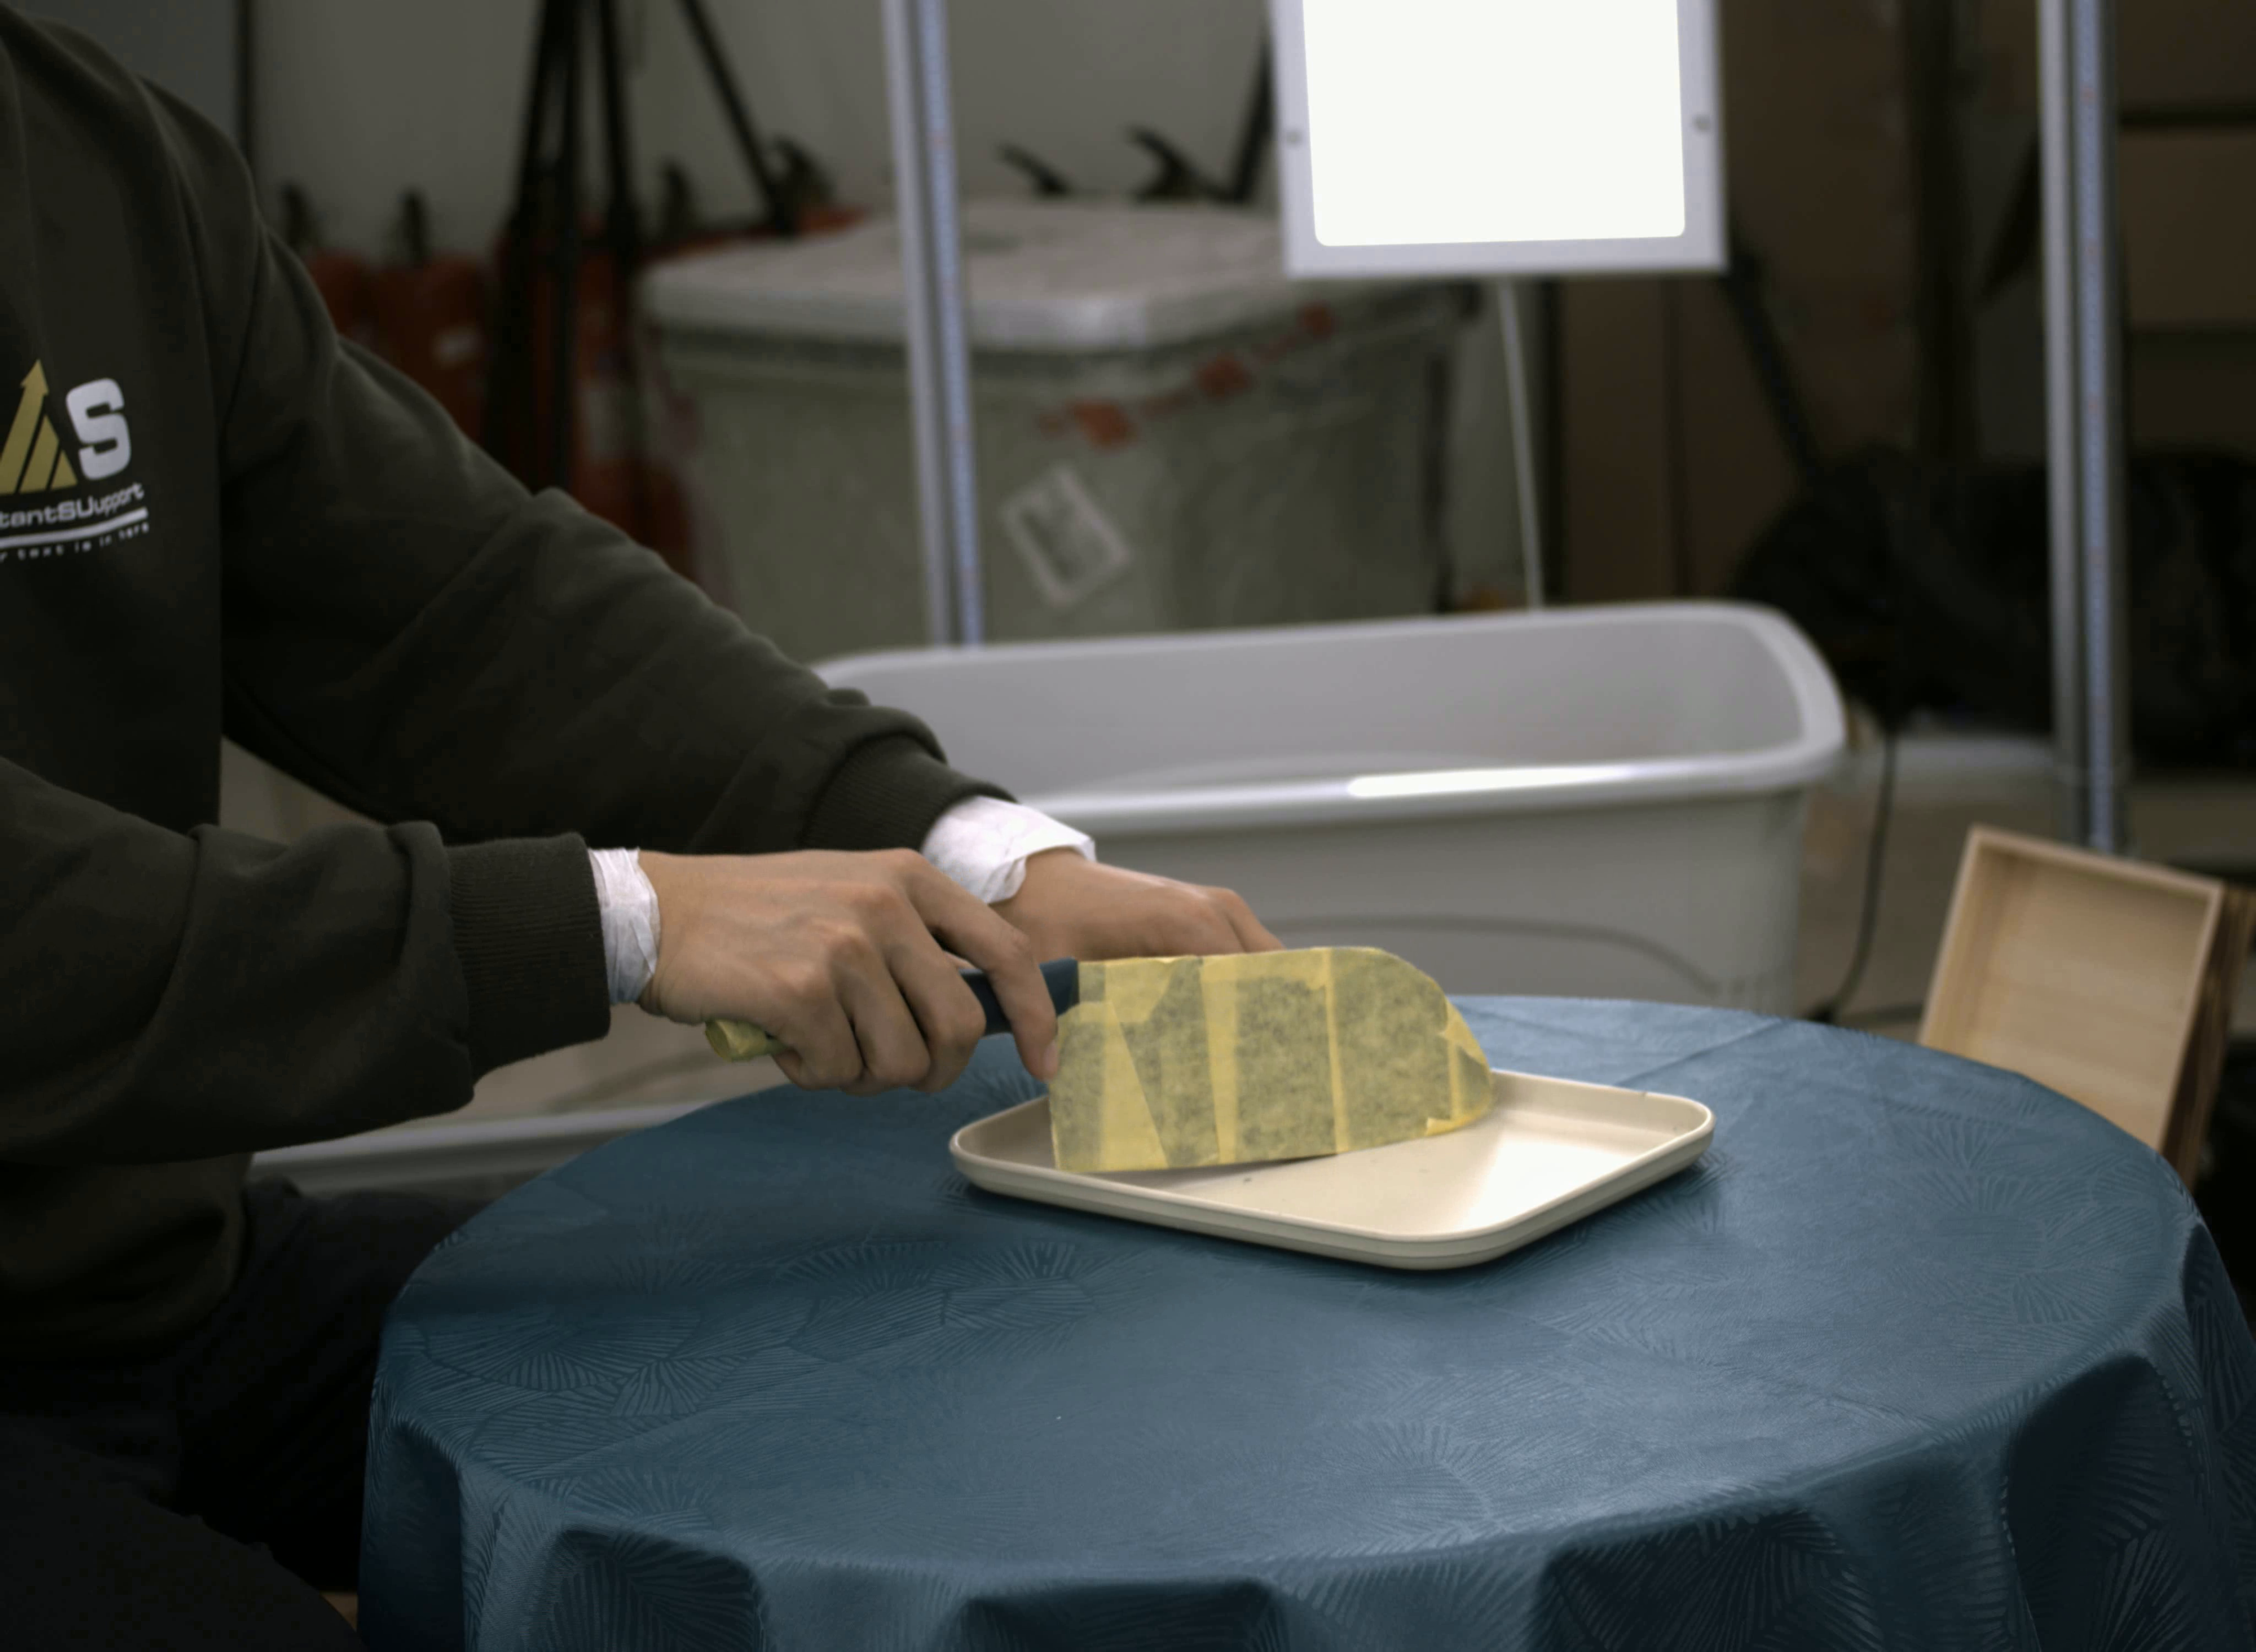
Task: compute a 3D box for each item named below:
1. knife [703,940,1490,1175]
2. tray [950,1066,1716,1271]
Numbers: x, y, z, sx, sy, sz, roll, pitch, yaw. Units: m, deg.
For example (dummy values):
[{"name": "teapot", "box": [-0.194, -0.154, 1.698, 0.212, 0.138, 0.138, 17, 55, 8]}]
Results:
[{"name": "knife", "box": [-0.006, 0.079, 1.892, 0.284, 0.081, 0.027, 0, -8, -18]}, {"name": "tray", "box": [0.070, 0.112, 1.900, 0.245, 0.017, 0.167, 7, 19, 41]}]
